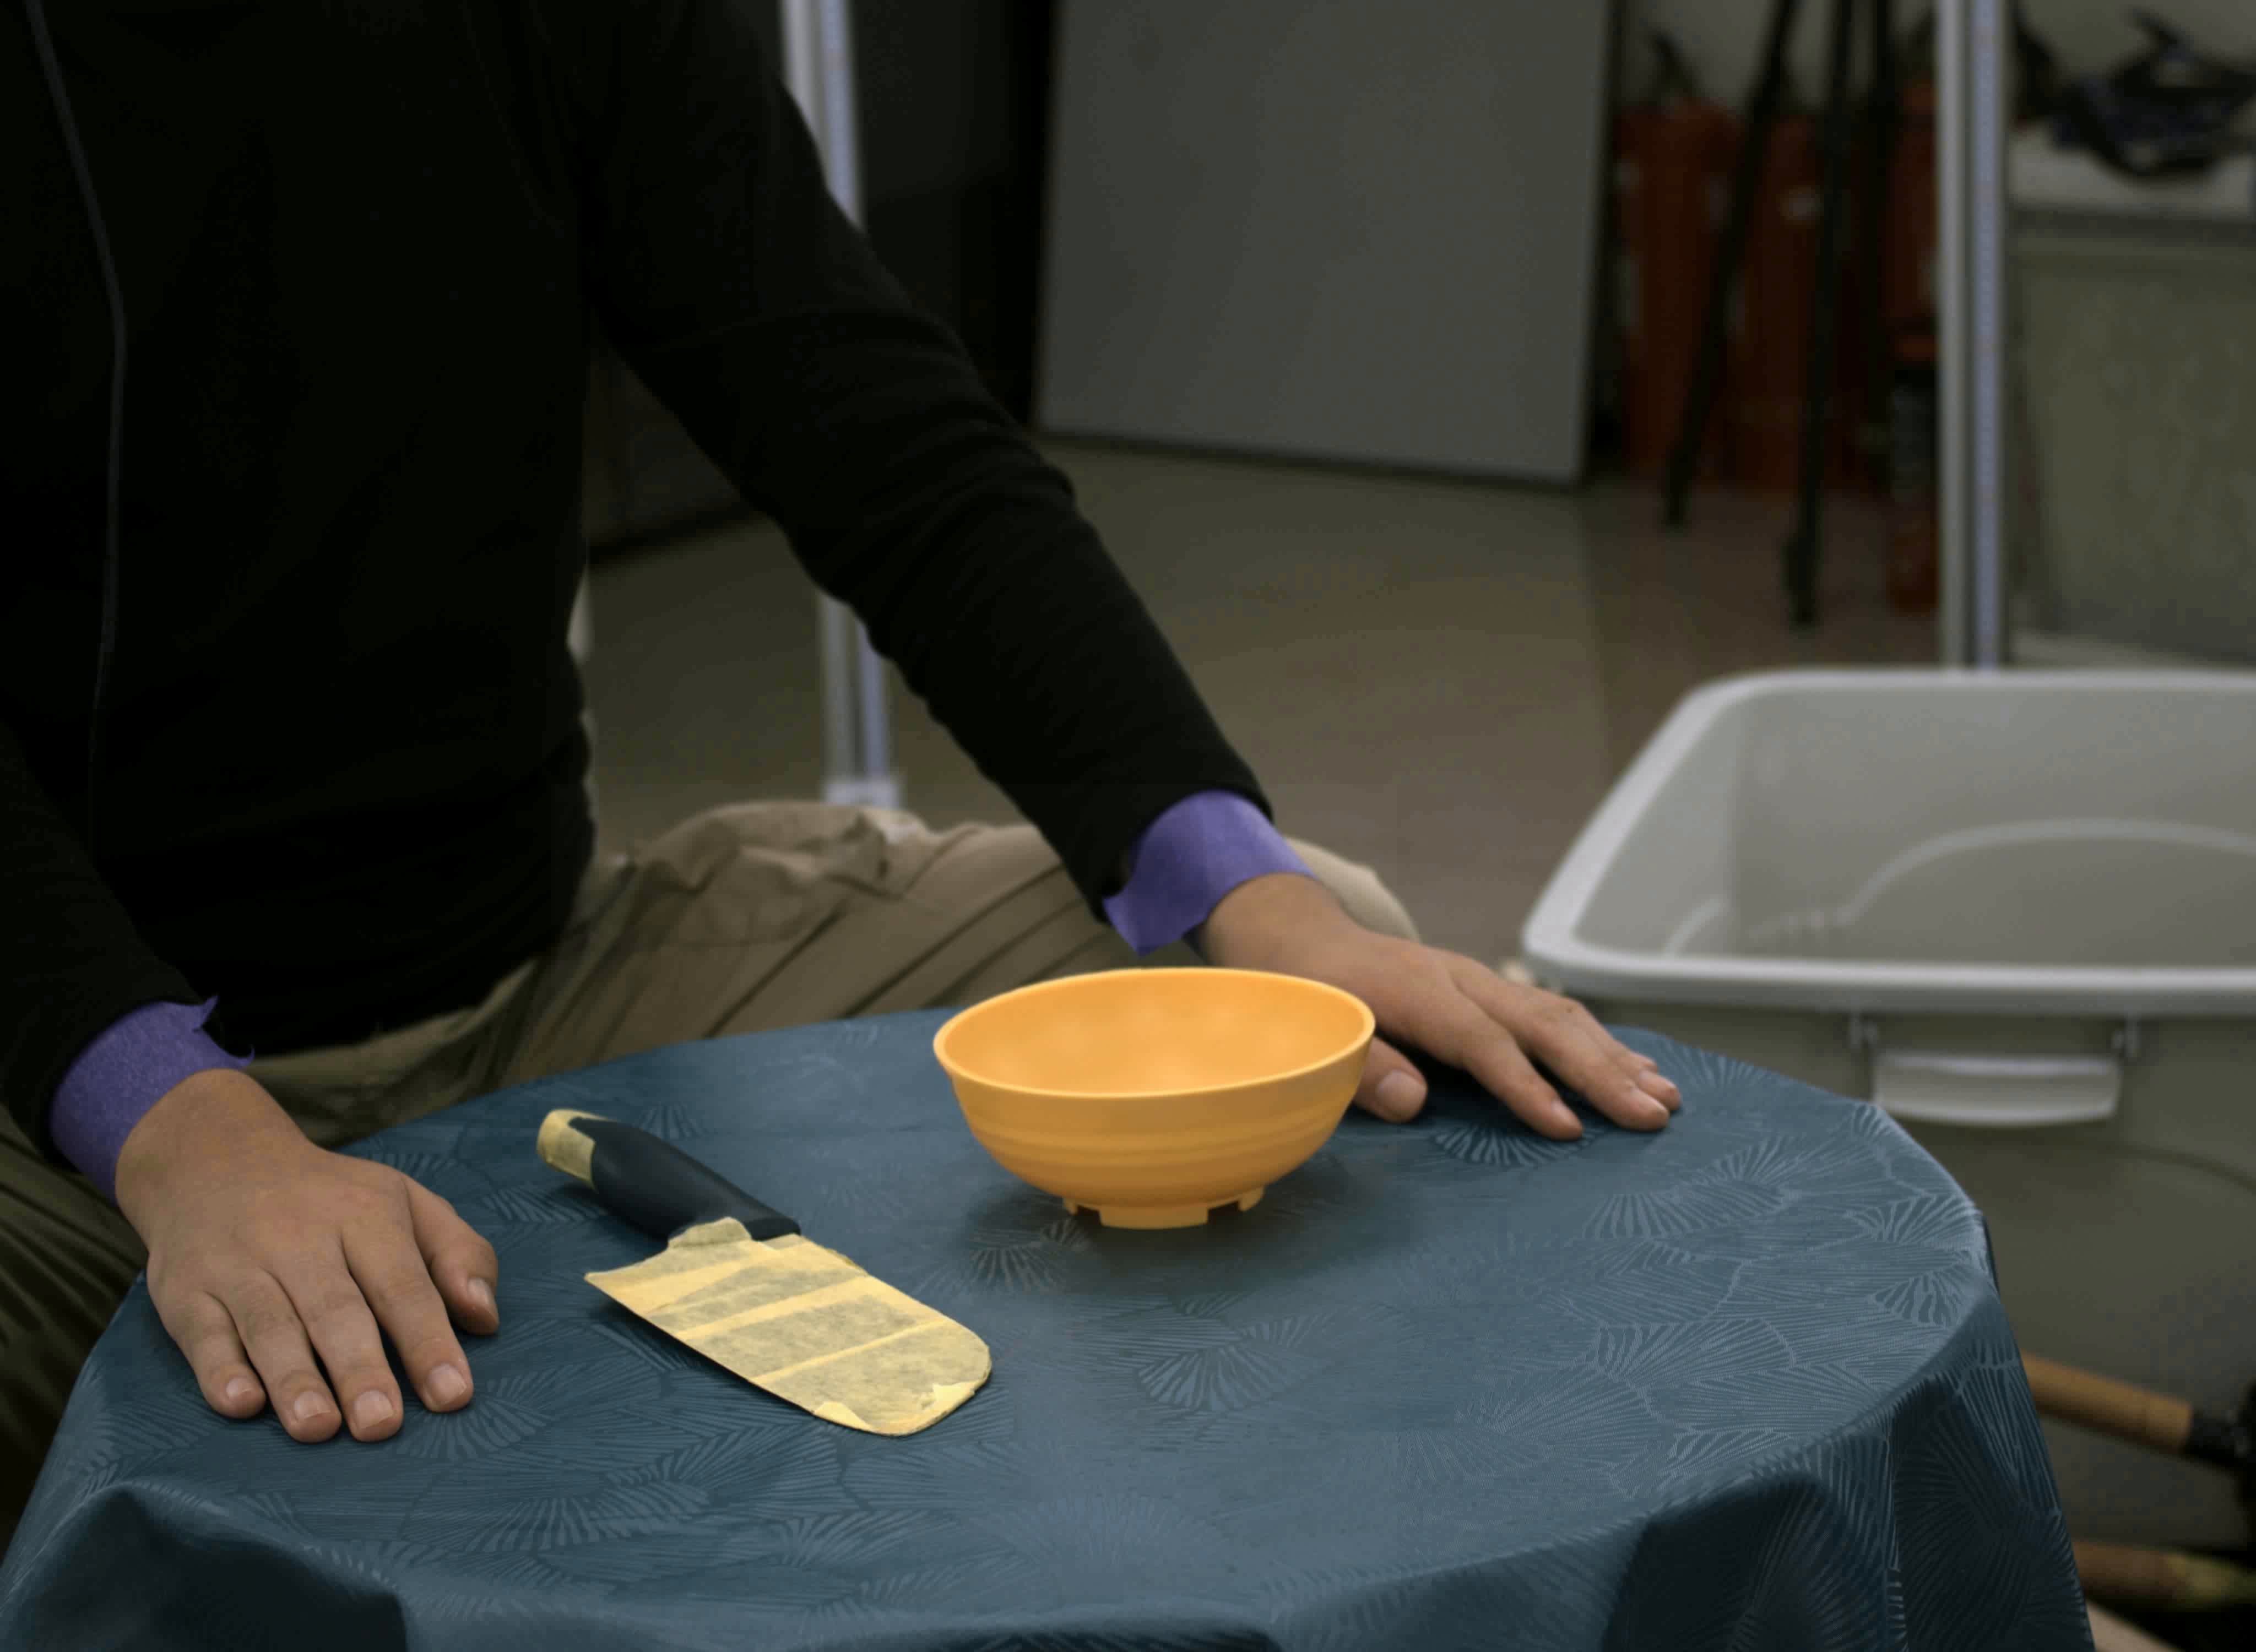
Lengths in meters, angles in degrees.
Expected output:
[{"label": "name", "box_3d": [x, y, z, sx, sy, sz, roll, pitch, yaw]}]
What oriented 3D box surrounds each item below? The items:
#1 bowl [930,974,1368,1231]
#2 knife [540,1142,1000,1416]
[{"label": "bowl", "box_3d": [0.007, 0.094, 1.758, 0.143, 0.061, 0.145, -2, 13, 0]}, {"label": "knife", "box_3d": [-0.125, 0.143, 1.696, 0.079, 0.027, 0.292, -10, 16, -28]}]
